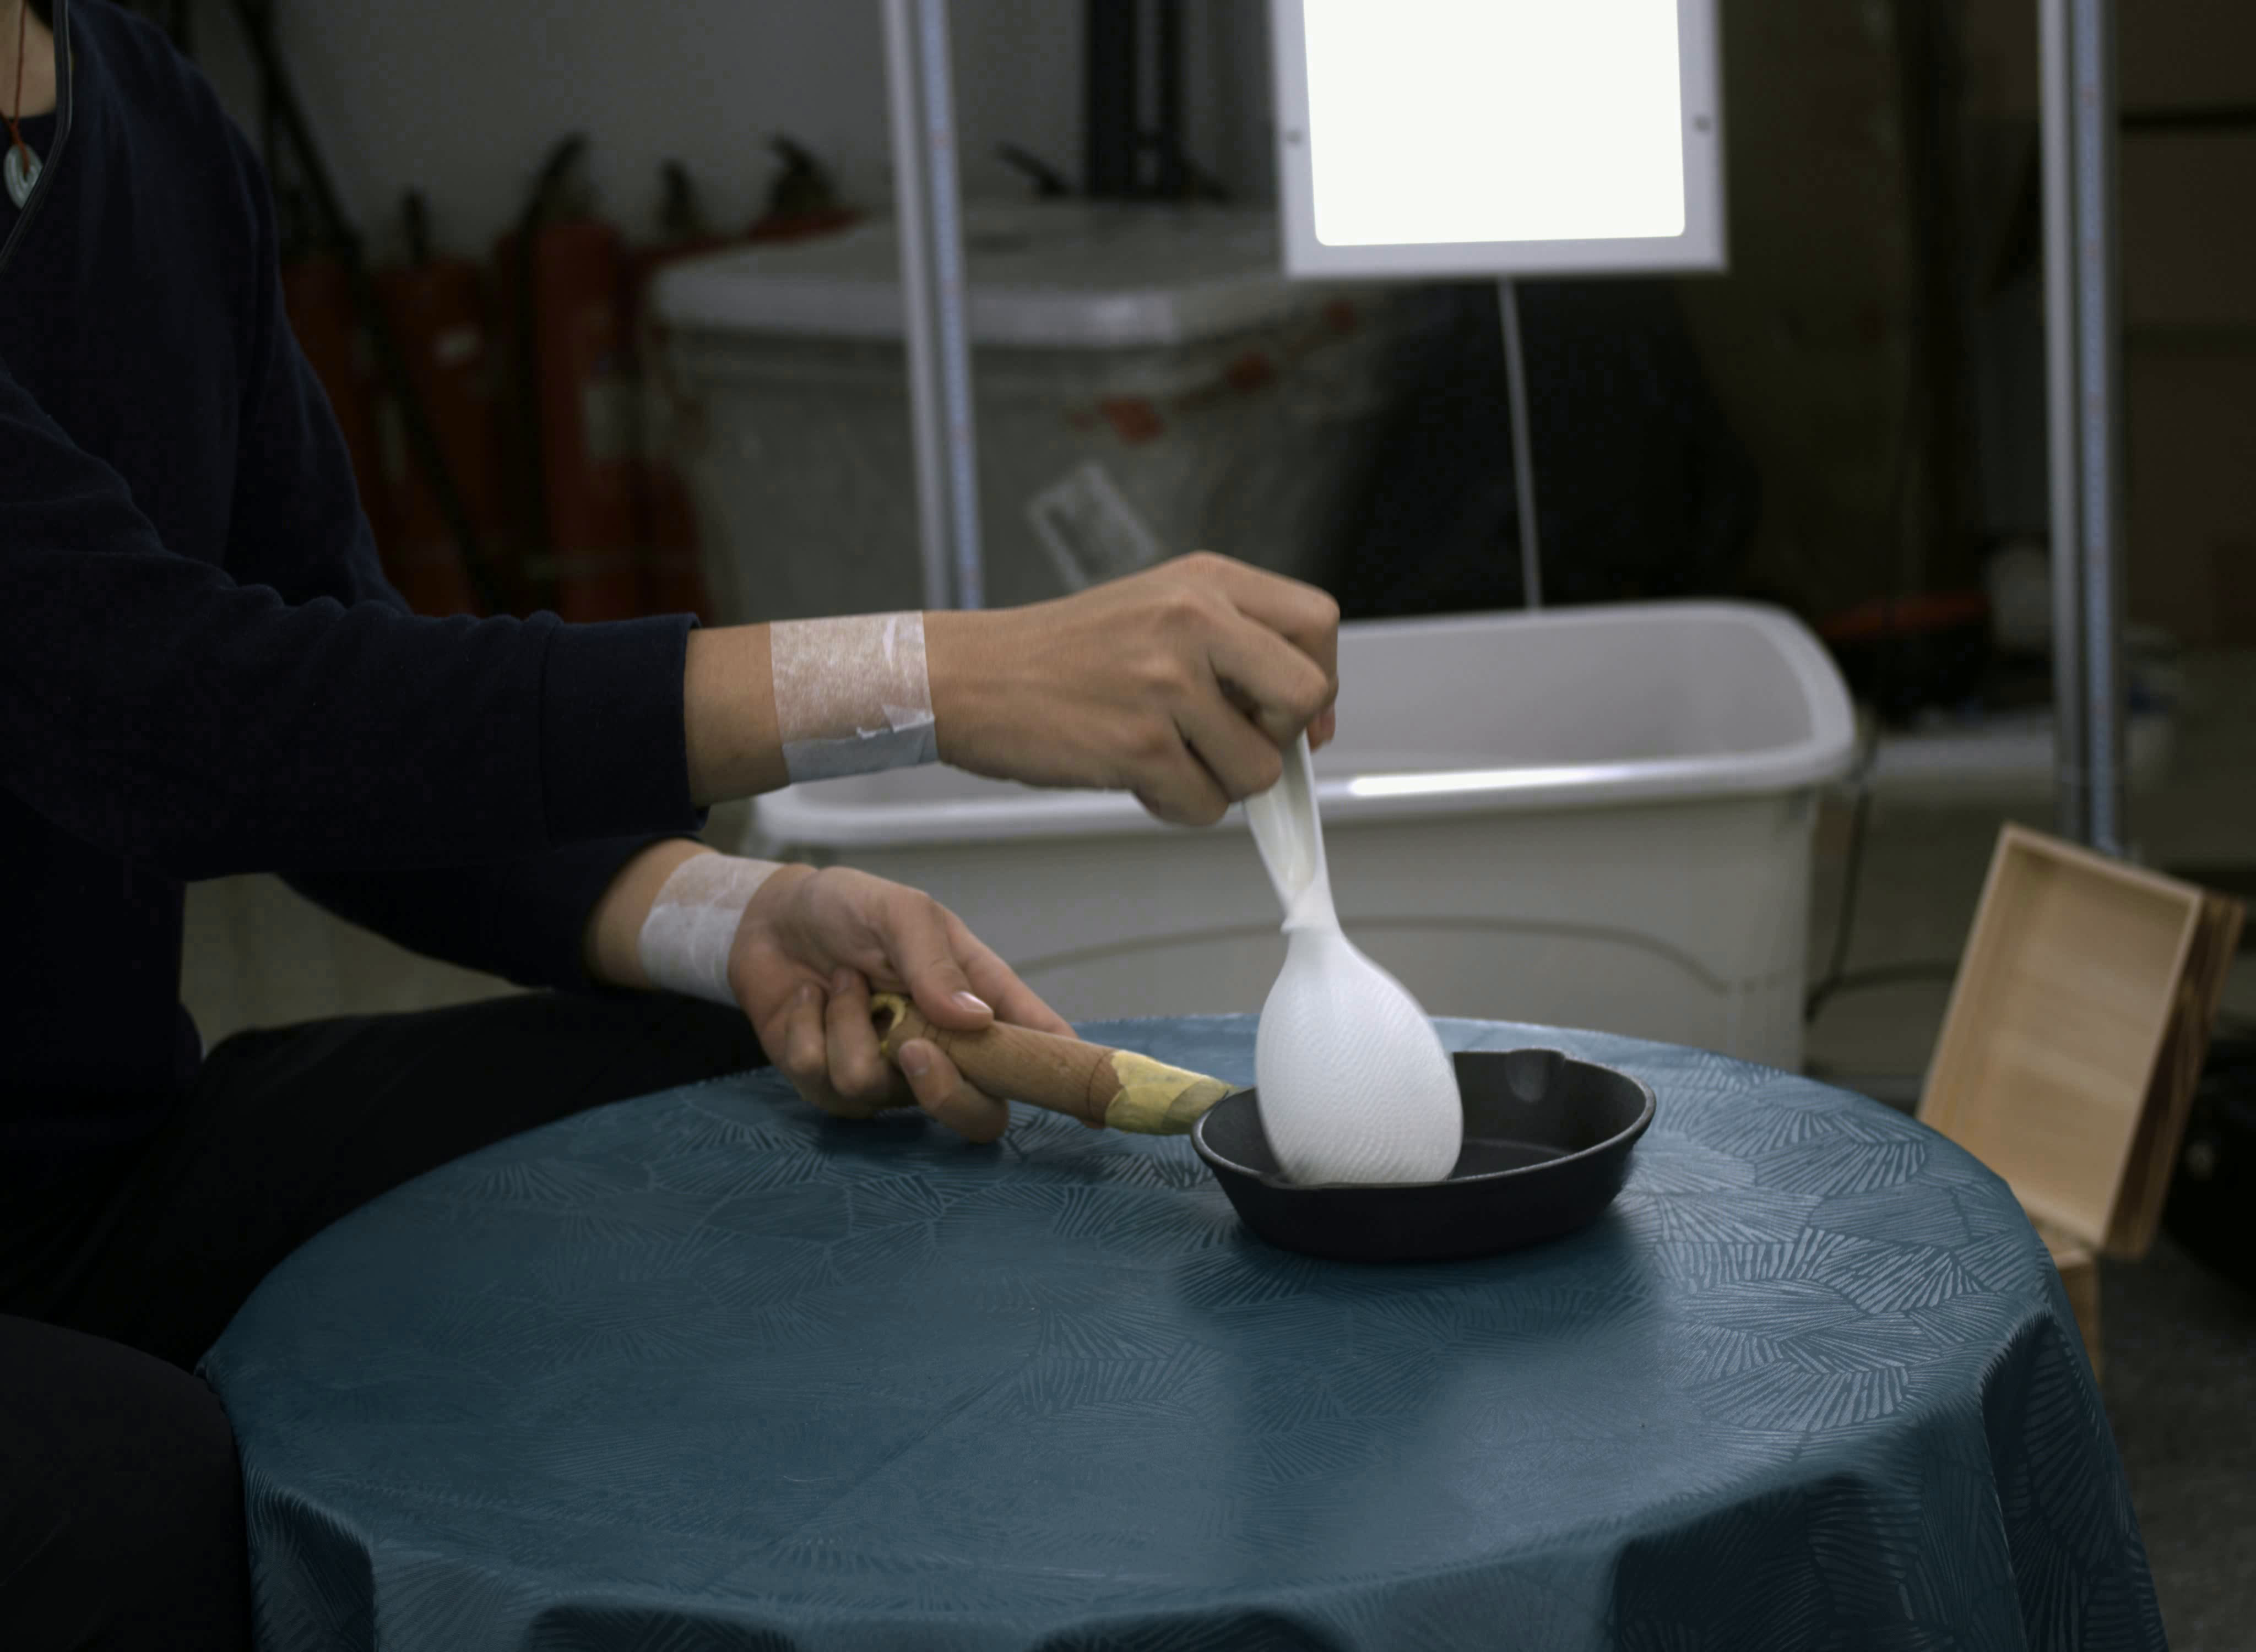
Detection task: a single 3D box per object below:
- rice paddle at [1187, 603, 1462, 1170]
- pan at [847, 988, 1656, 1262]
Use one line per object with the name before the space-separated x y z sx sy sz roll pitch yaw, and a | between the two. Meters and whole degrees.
rice paddle | 0.061 0.028 1.801 0.070 0.205 0.029 -10 14 24
pan | 0.033 0.097 1.899 0.331 0.050 0.165 7 18 38
